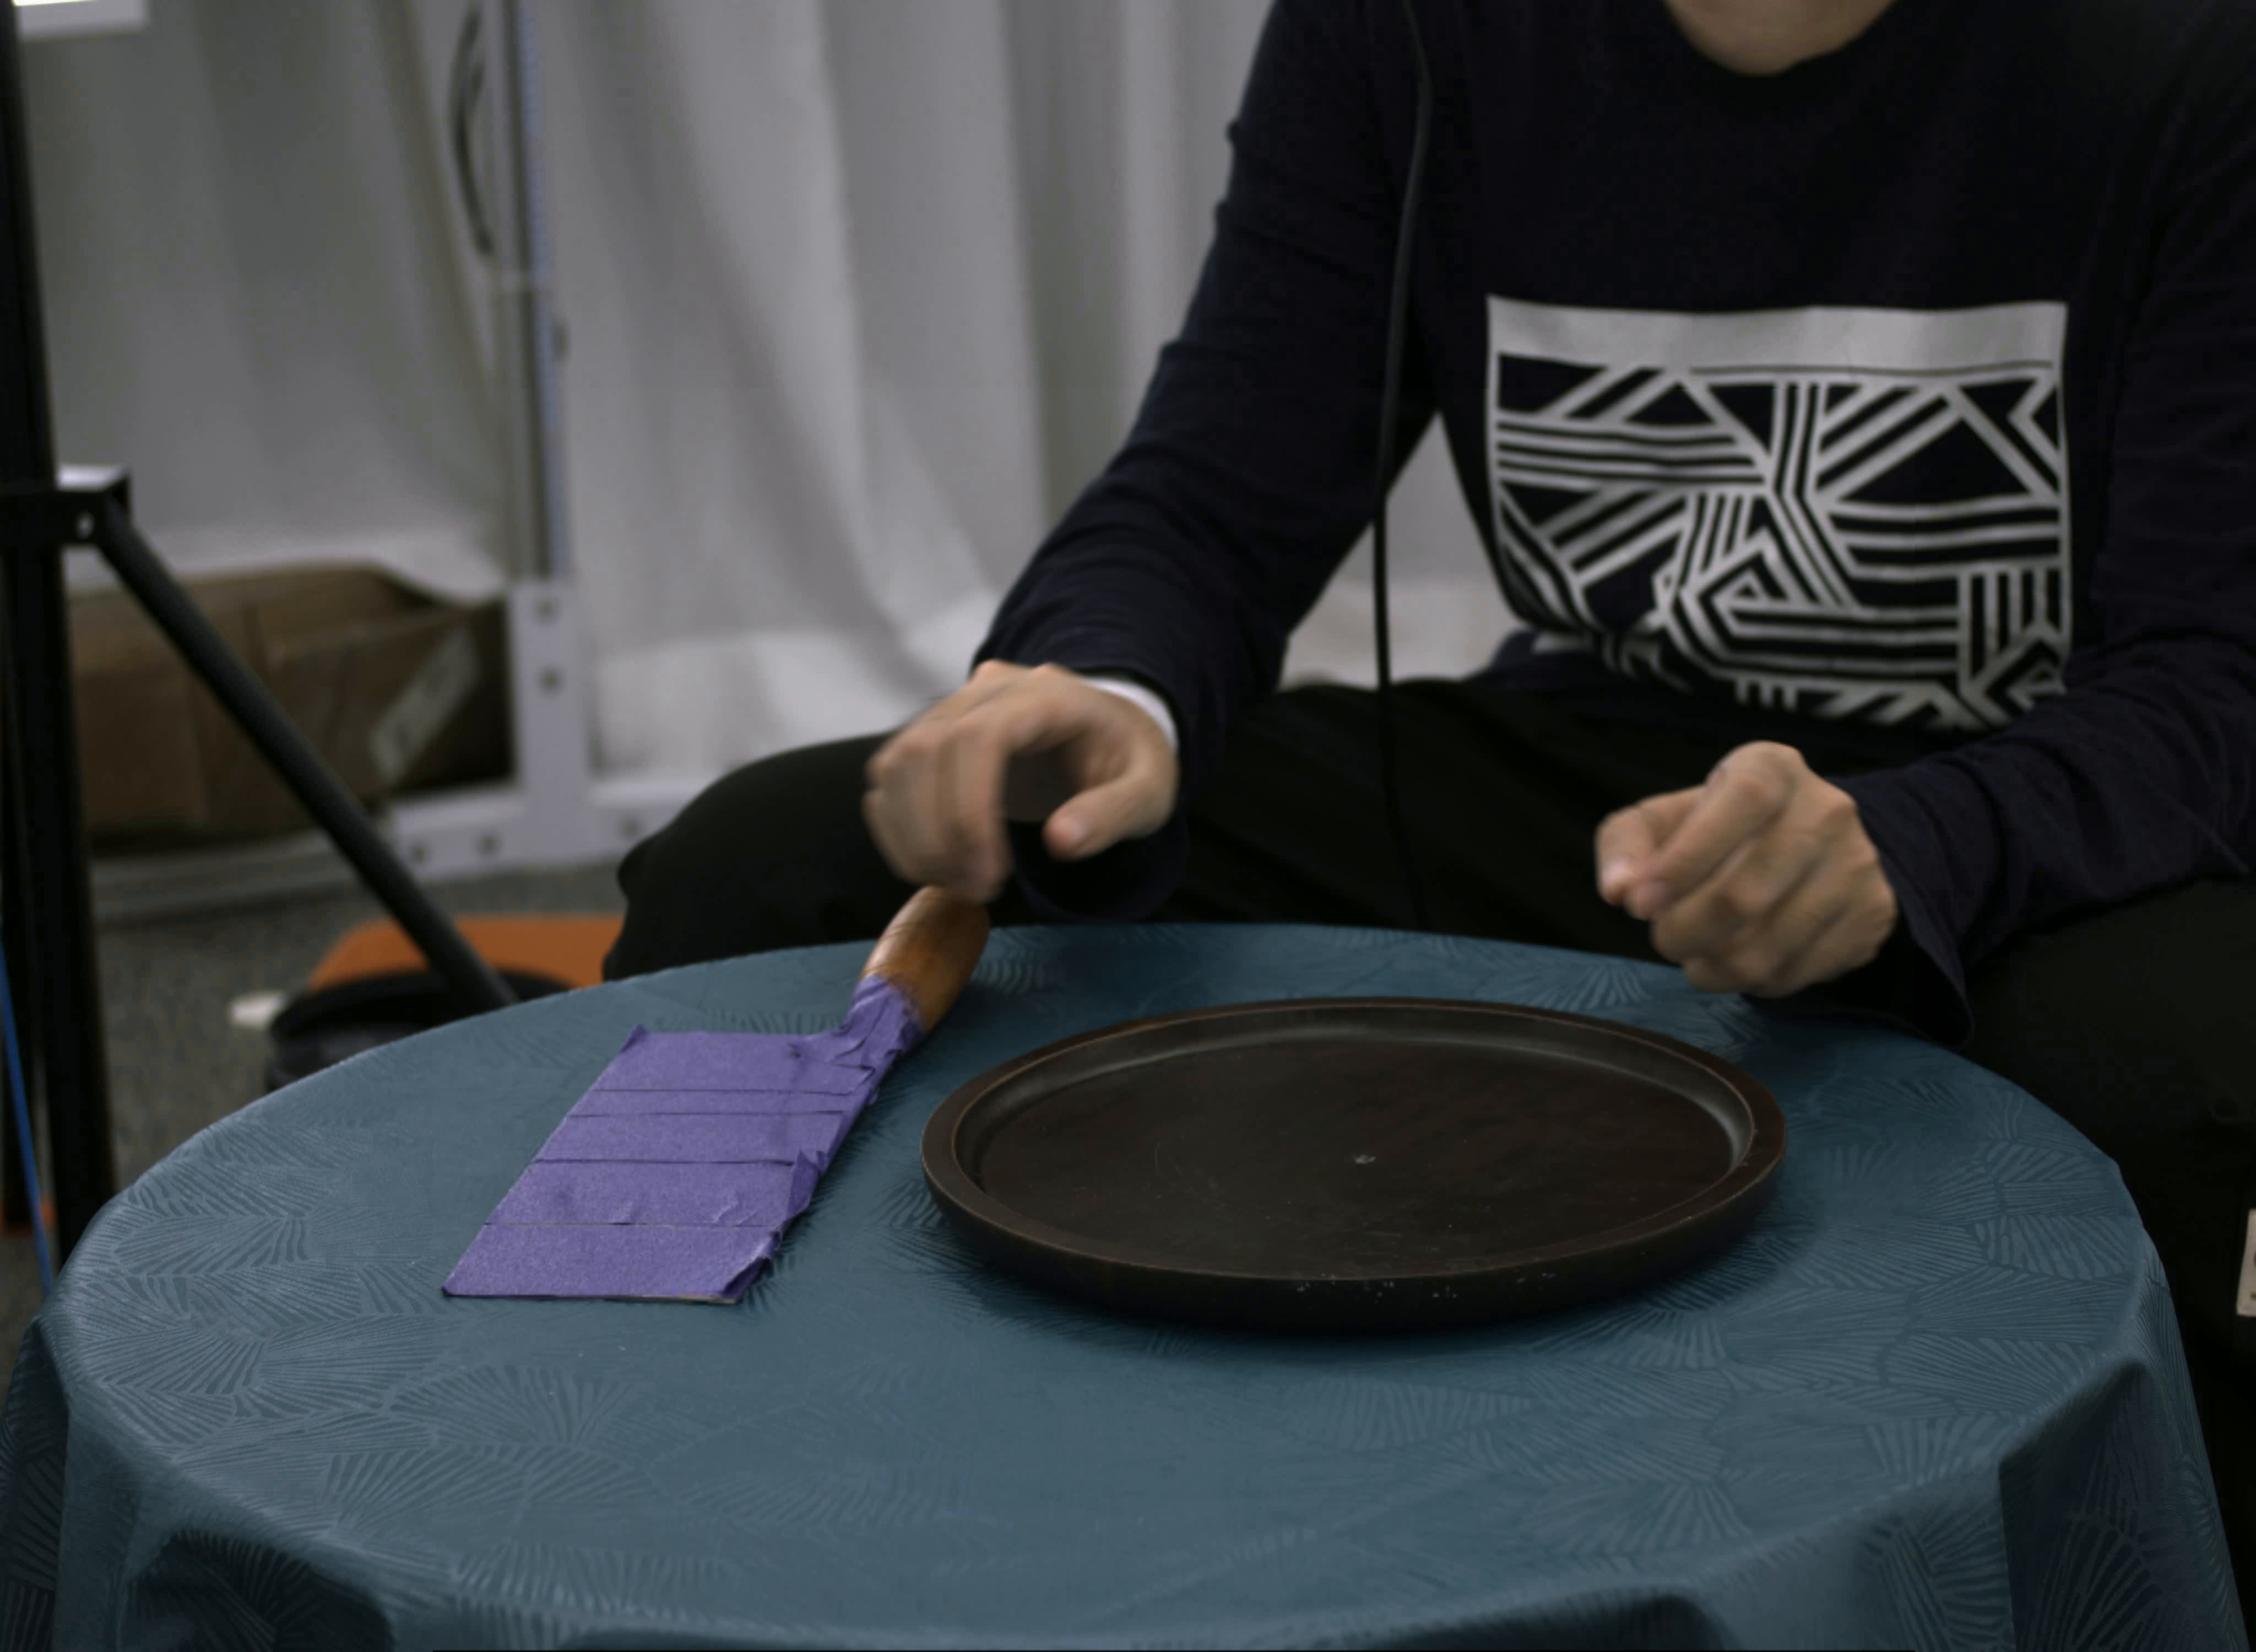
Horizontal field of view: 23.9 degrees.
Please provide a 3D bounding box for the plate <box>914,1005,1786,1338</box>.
[{"bbox_3d":[0.064,0.097,1.546,0.253,0.029,0.256,-3,17,-1],"label":"plate"}]

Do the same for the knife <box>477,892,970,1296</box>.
[{"bbox_3d":[-0.121,0.079,1.635,0.104,0.032,0.314,1,17,10],"label":"knife"}]
